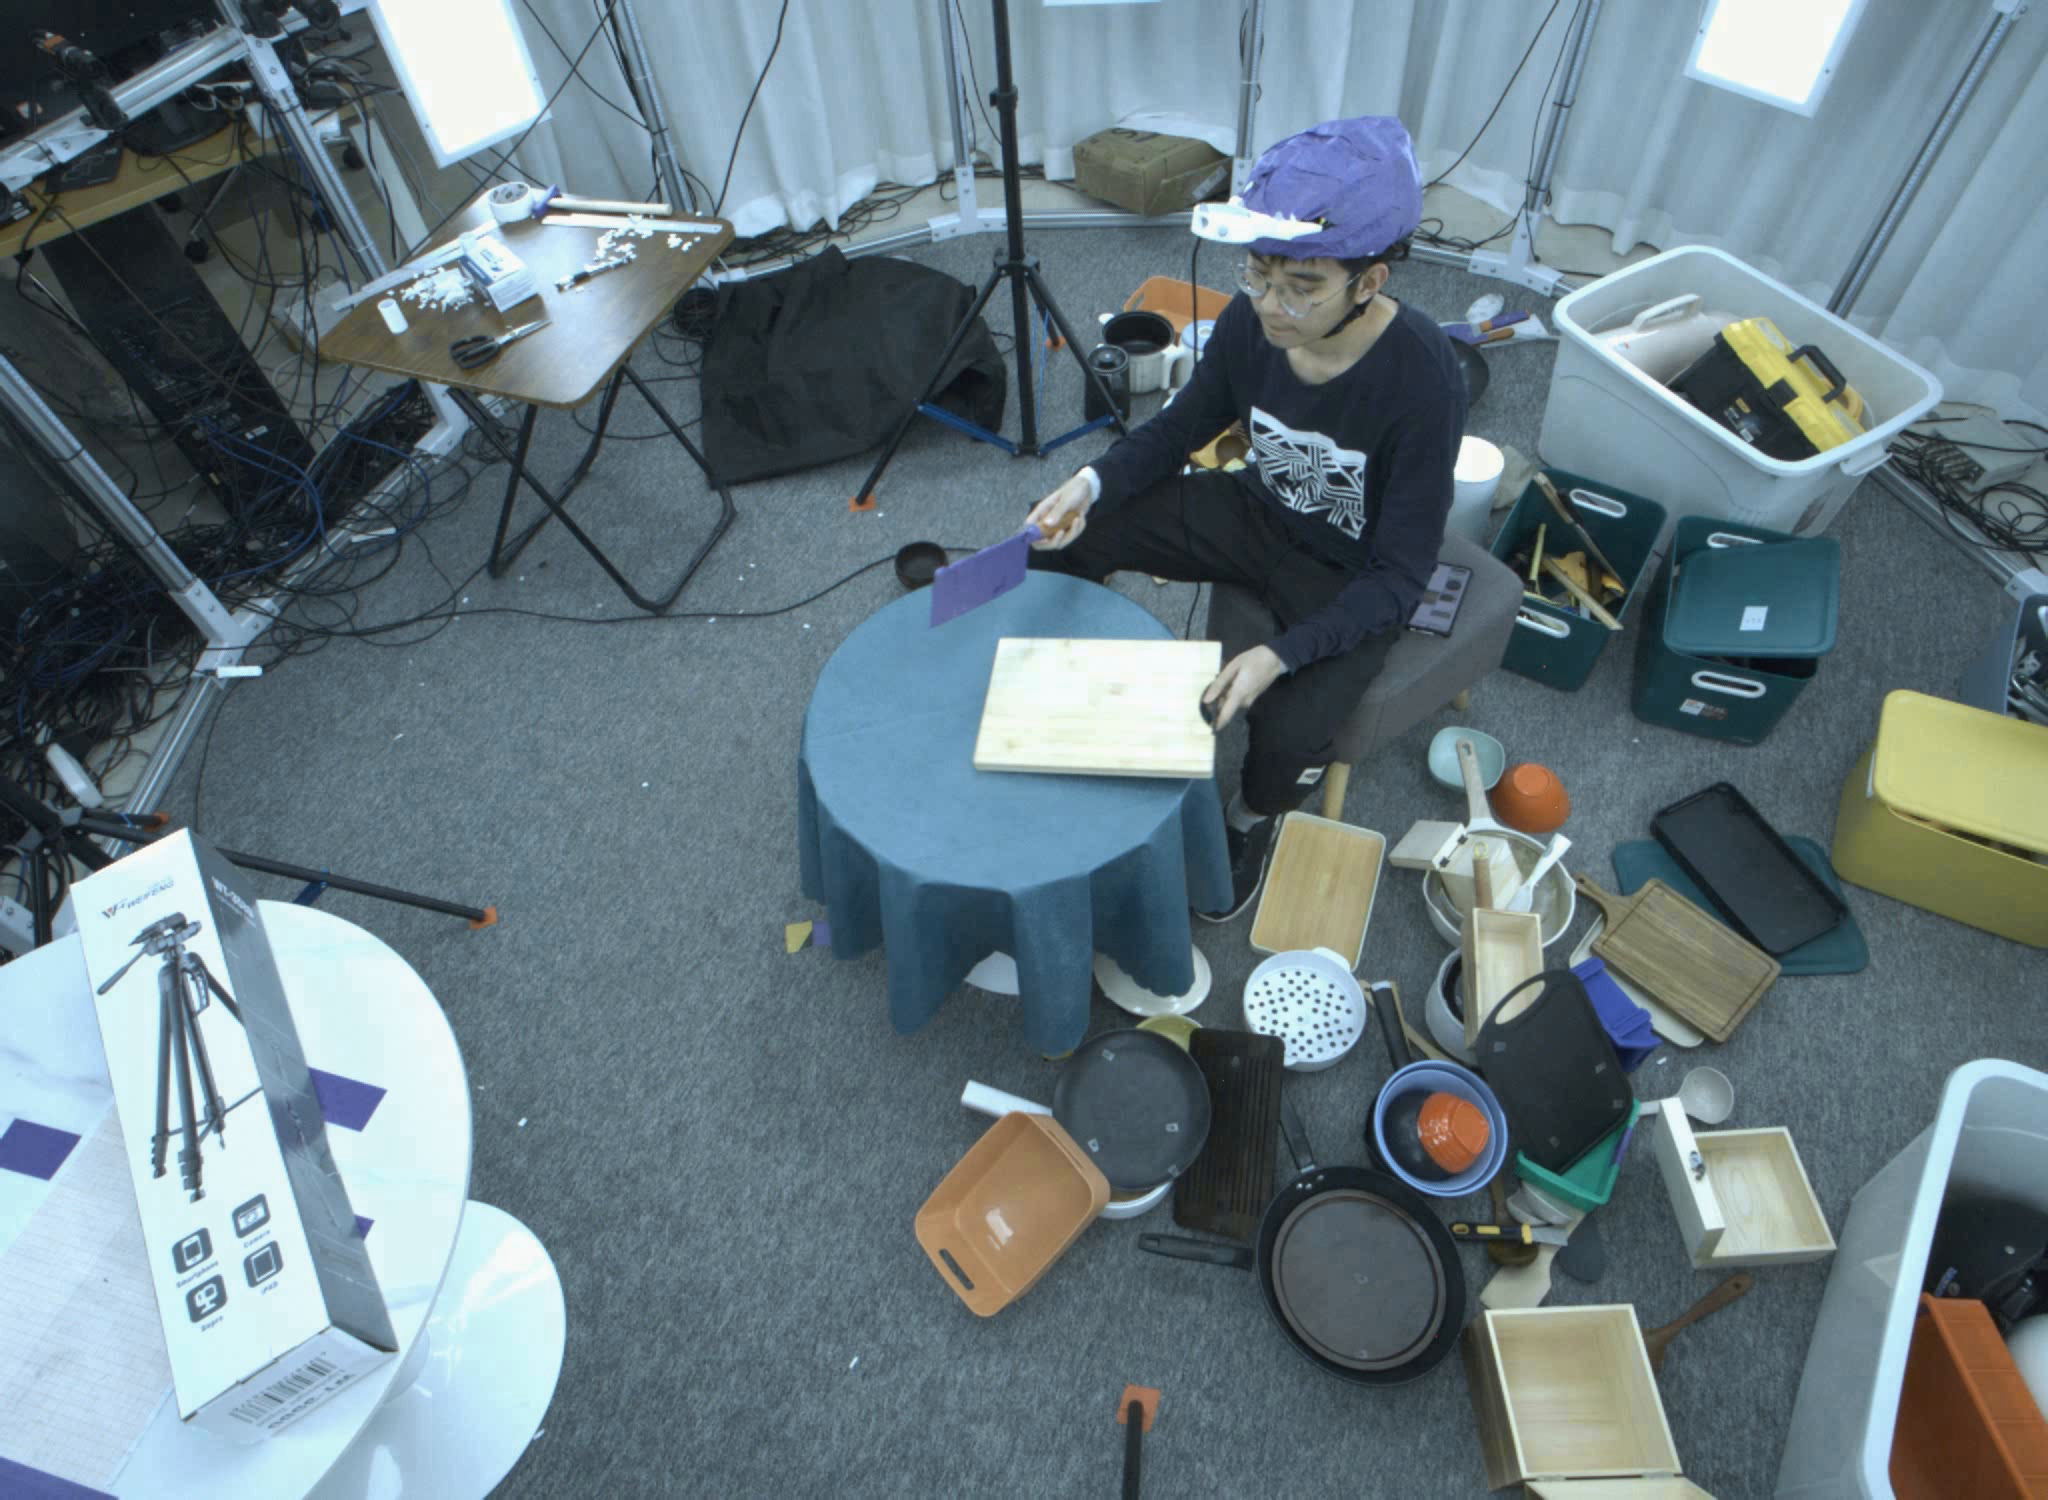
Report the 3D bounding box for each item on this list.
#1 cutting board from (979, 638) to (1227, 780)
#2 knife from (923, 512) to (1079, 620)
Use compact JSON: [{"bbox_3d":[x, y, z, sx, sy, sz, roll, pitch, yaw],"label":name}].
[{"bbox_3d":[0.120,-0.065,1.811,0.347,0.024,0.249,1,54,8],"label":"cutting board"},{"bbox_3d":[-0.036,-0.275,1.822,0.031,0.104,0.319,33,43,30],"label":"knife"}]
